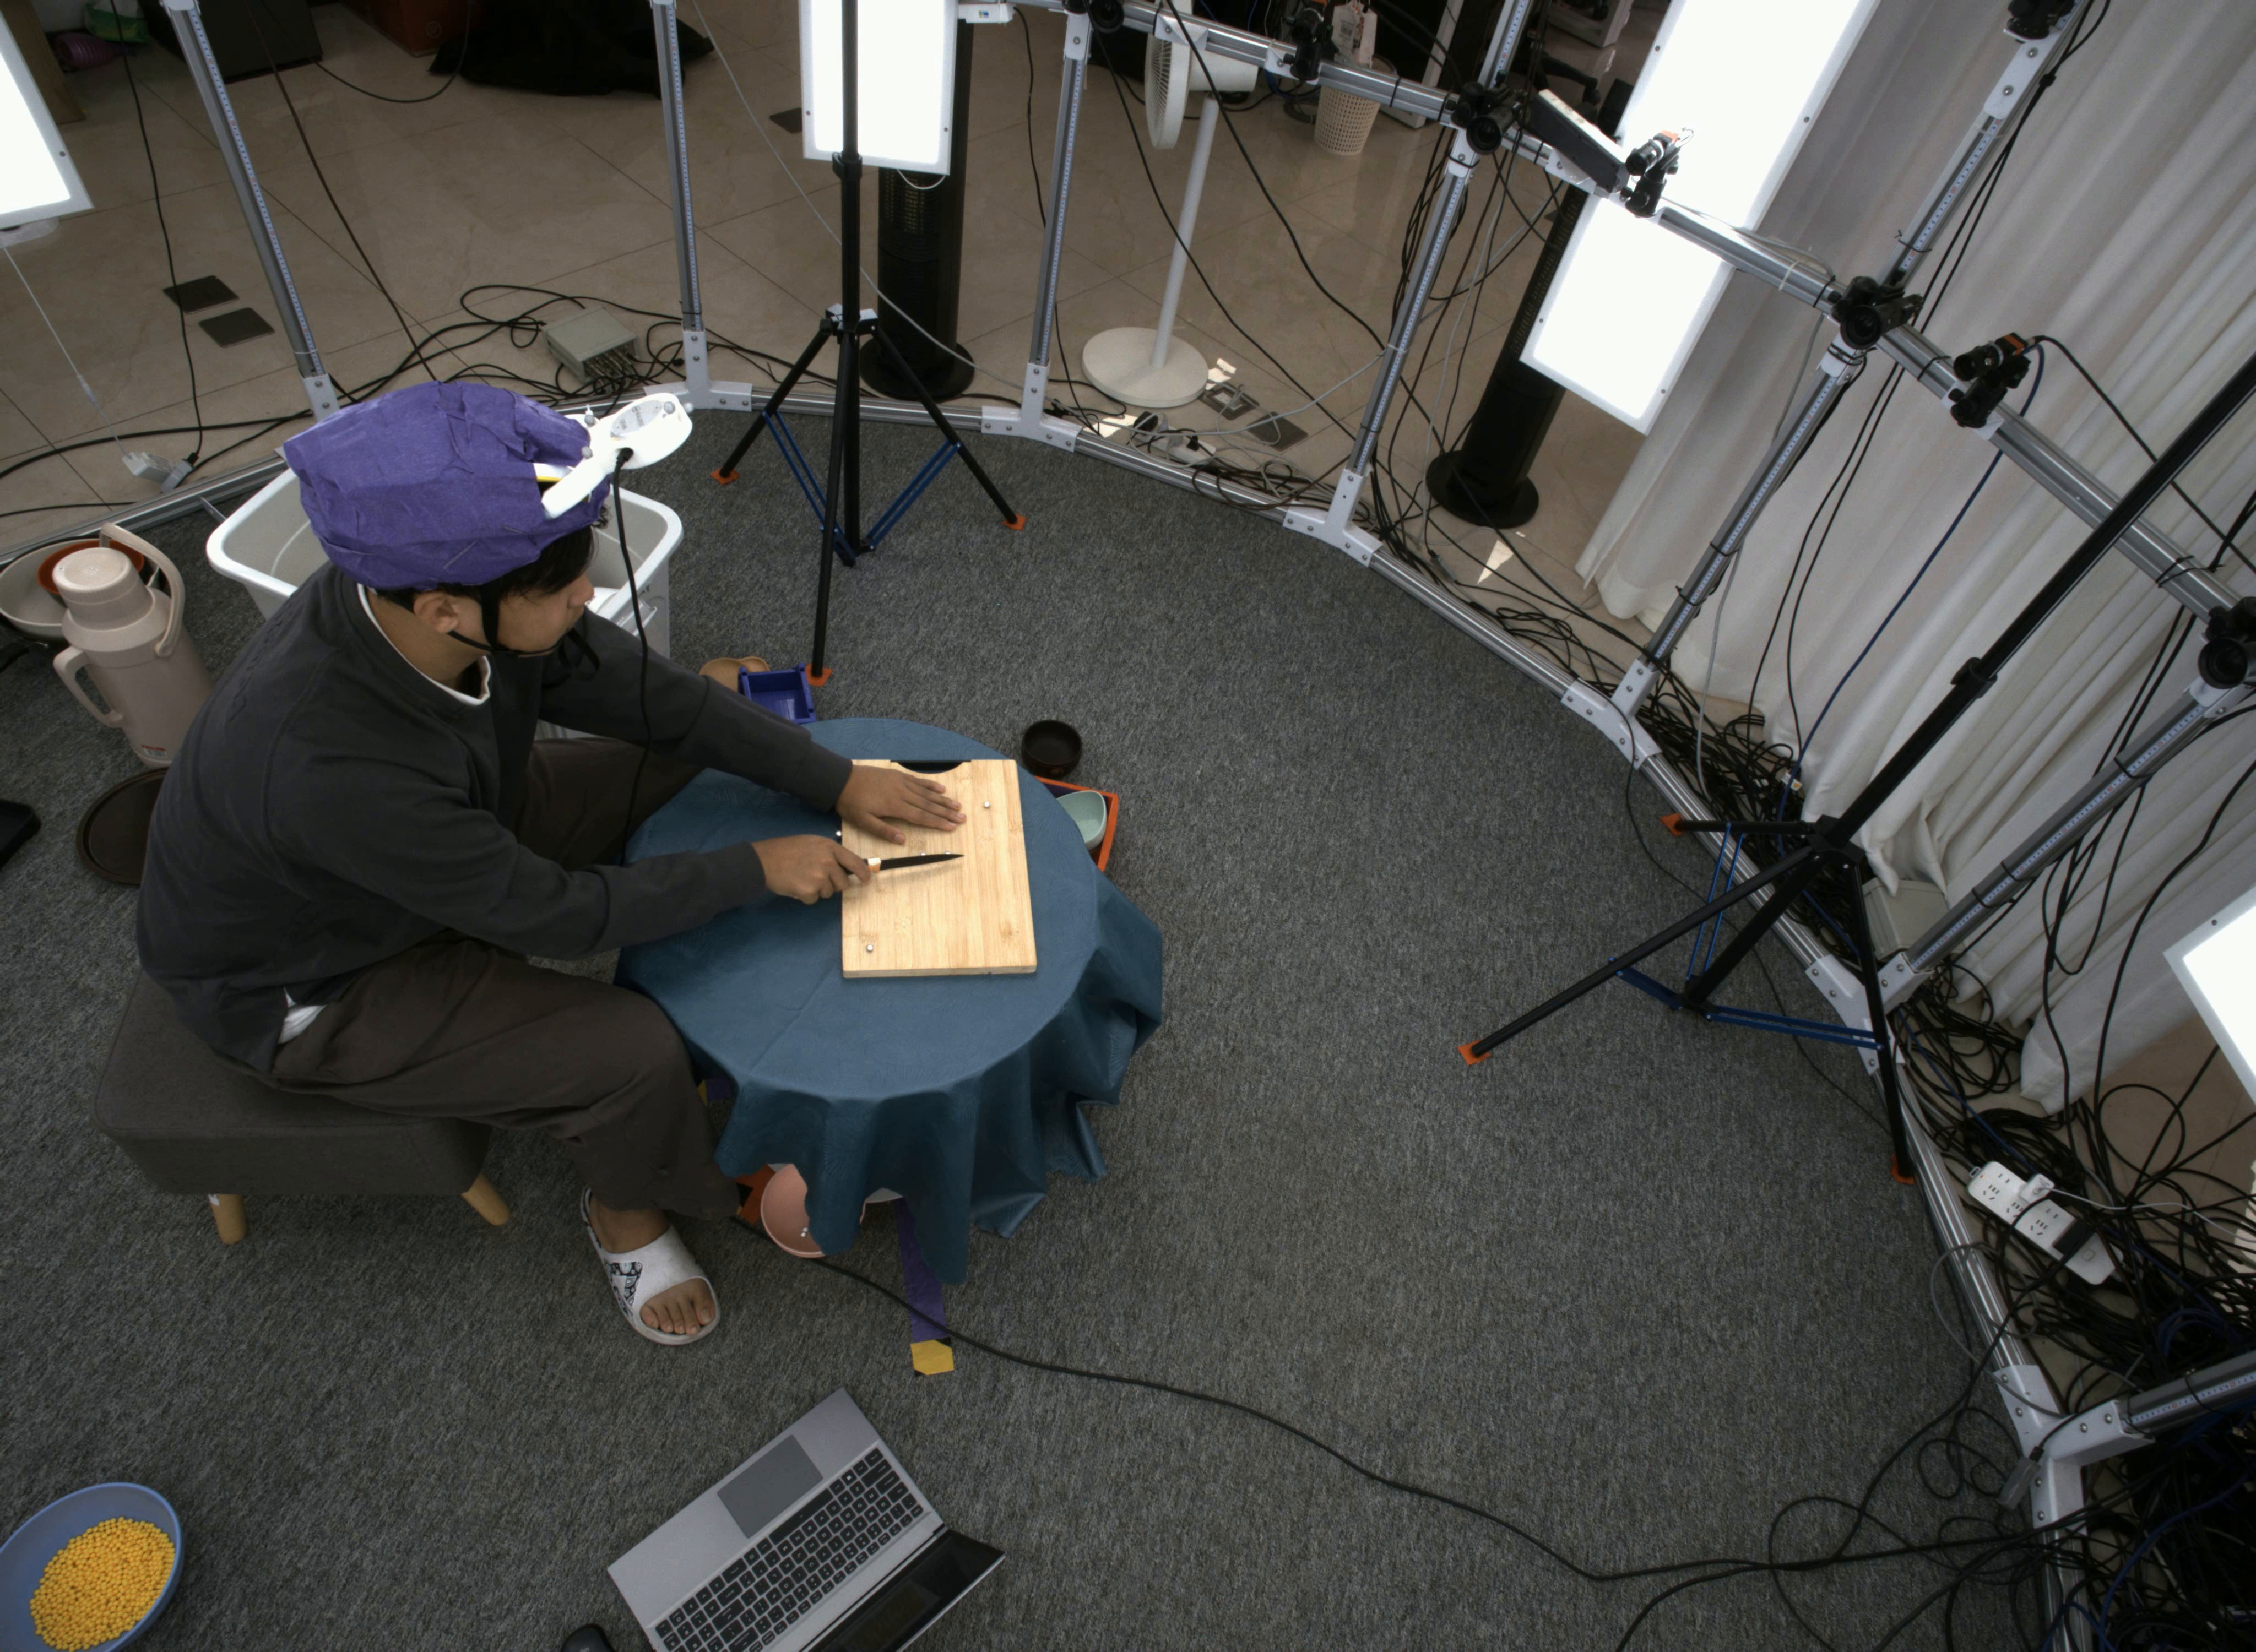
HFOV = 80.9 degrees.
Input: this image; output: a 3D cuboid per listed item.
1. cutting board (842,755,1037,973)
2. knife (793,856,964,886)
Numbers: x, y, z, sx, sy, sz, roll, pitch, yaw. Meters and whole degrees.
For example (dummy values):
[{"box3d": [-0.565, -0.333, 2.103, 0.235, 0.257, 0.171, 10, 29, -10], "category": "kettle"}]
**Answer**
[{"box3d": [-0.254, 0.043, 1.720, 0.251, 0.024, 0.341, 0, 54, -15], "category": "cutting board"}, {"box3d": [-0.316, 0.051, 1.663, 0.227, 0.026, 0.017, -8, 56, -25], "category": "knife"}]
